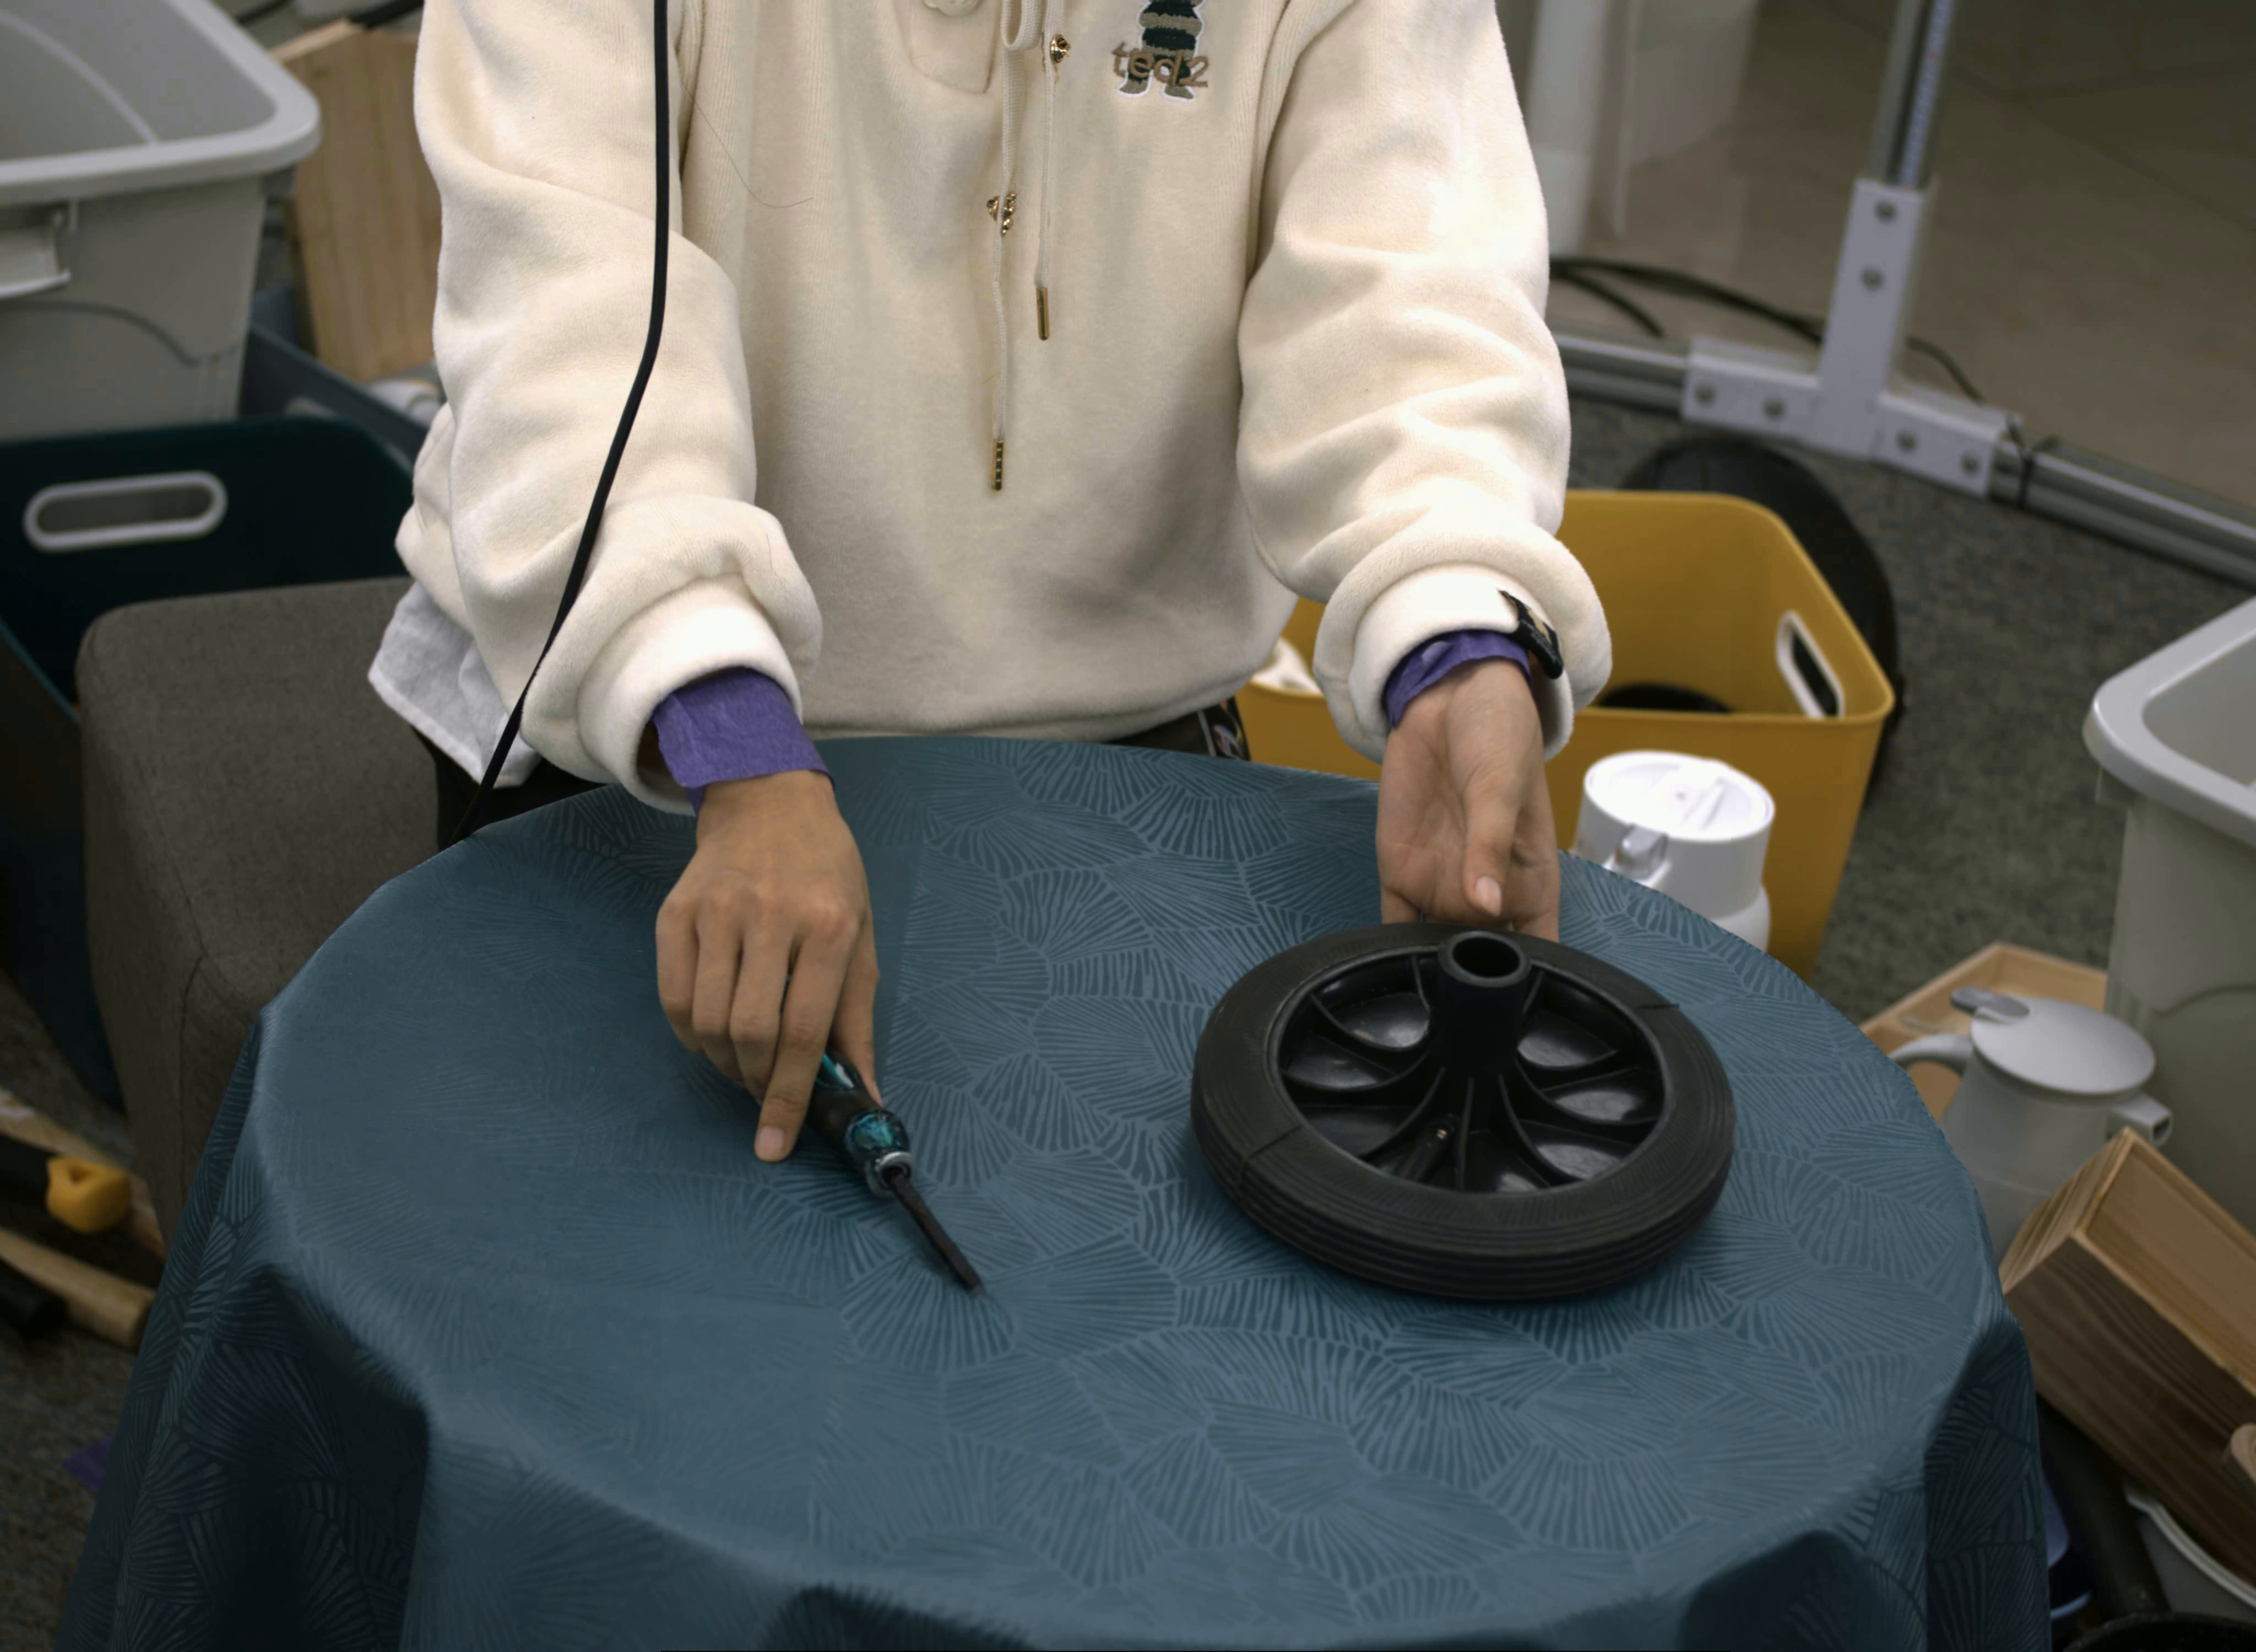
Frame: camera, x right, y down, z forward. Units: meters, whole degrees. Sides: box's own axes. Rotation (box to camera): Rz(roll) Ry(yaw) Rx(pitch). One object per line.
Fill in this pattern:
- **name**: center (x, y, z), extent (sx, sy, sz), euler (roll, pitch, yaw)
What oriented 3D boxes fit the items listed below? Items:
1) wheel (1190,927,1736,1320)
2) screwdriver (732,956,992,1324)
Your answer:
- **wheel**: center (0.117, 0.082, 1.815), extent (0.187, 0.079, 0.191), euler (5, 37, 0)
- **screwdriver**: center (-0.087, 0.107, 1.787), extent (0.033, 0.033, 0.192), euler (-7, 37, -27)
